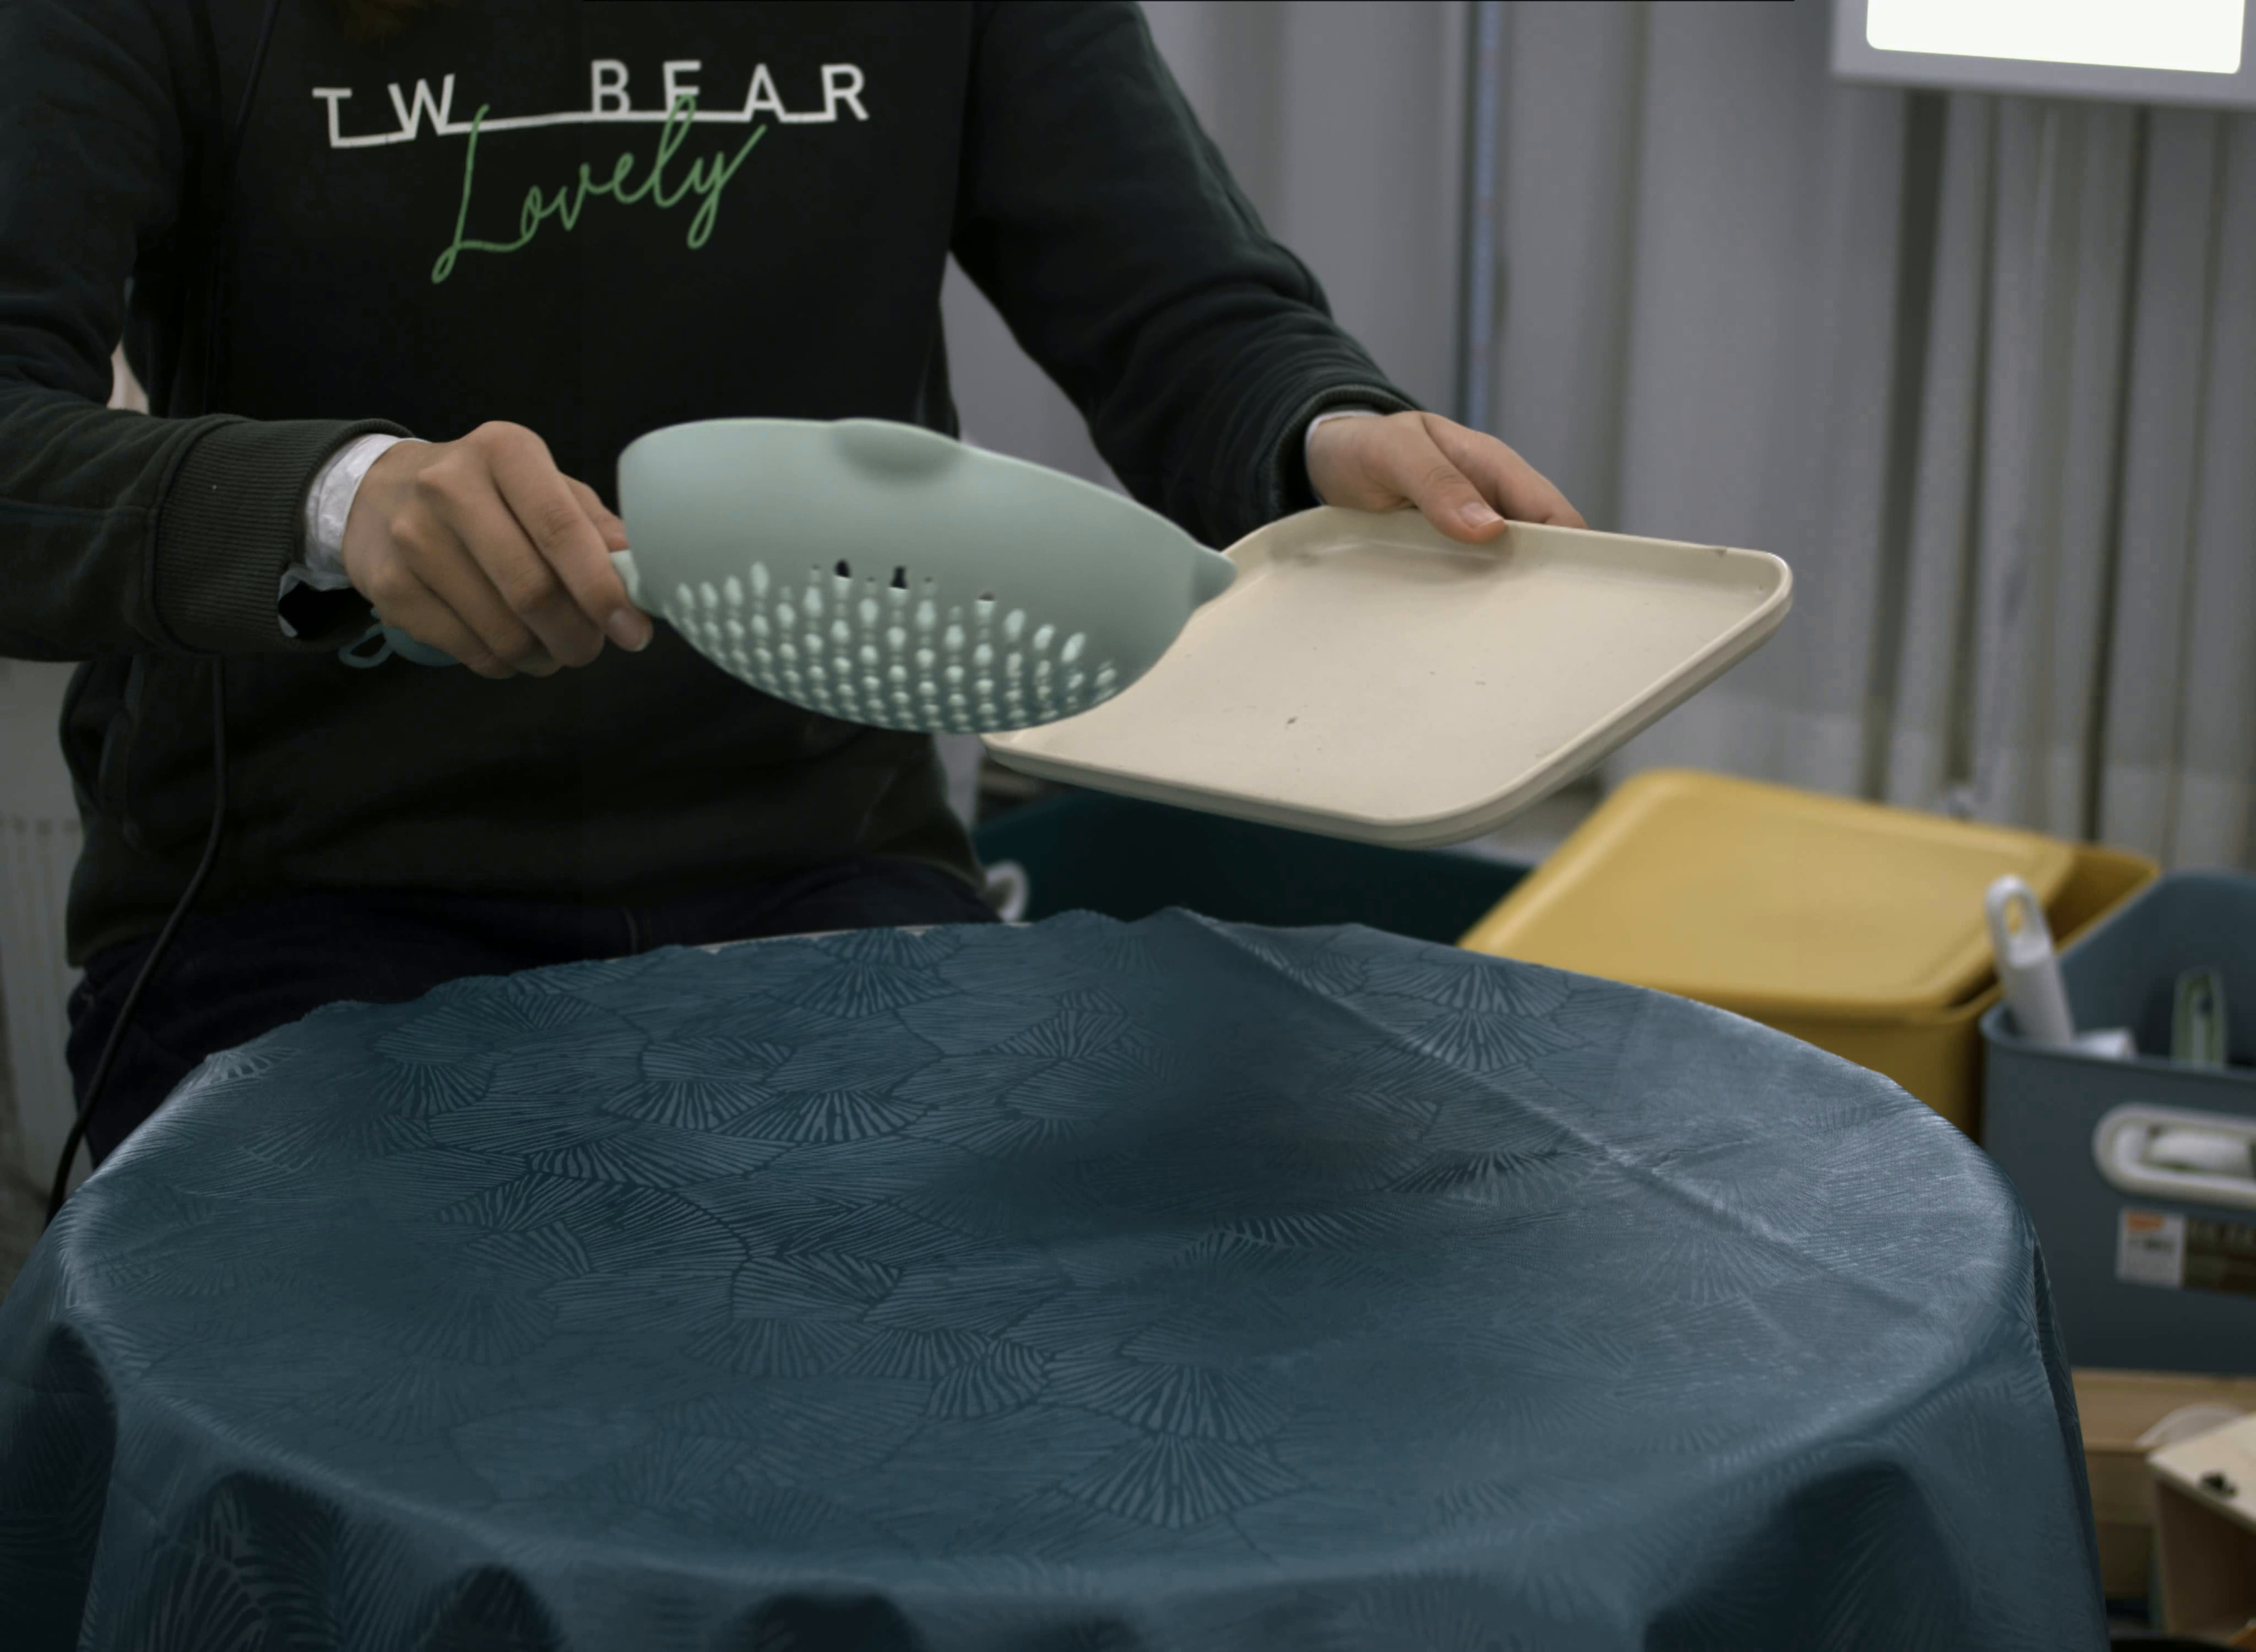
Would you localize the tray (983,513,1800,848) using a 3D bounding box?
[{"bbox_3d":[0.079,-0.046,1.614,0.171,0.018,0.236,-34,27,-31],"label":"tray"}]

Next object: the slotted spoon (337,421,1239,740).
[{"bbox_3d":[-0.127,-0.068,1.543,0.171,0.075,0.354,21,-9,-39],"label":"slotted spoon"}]
